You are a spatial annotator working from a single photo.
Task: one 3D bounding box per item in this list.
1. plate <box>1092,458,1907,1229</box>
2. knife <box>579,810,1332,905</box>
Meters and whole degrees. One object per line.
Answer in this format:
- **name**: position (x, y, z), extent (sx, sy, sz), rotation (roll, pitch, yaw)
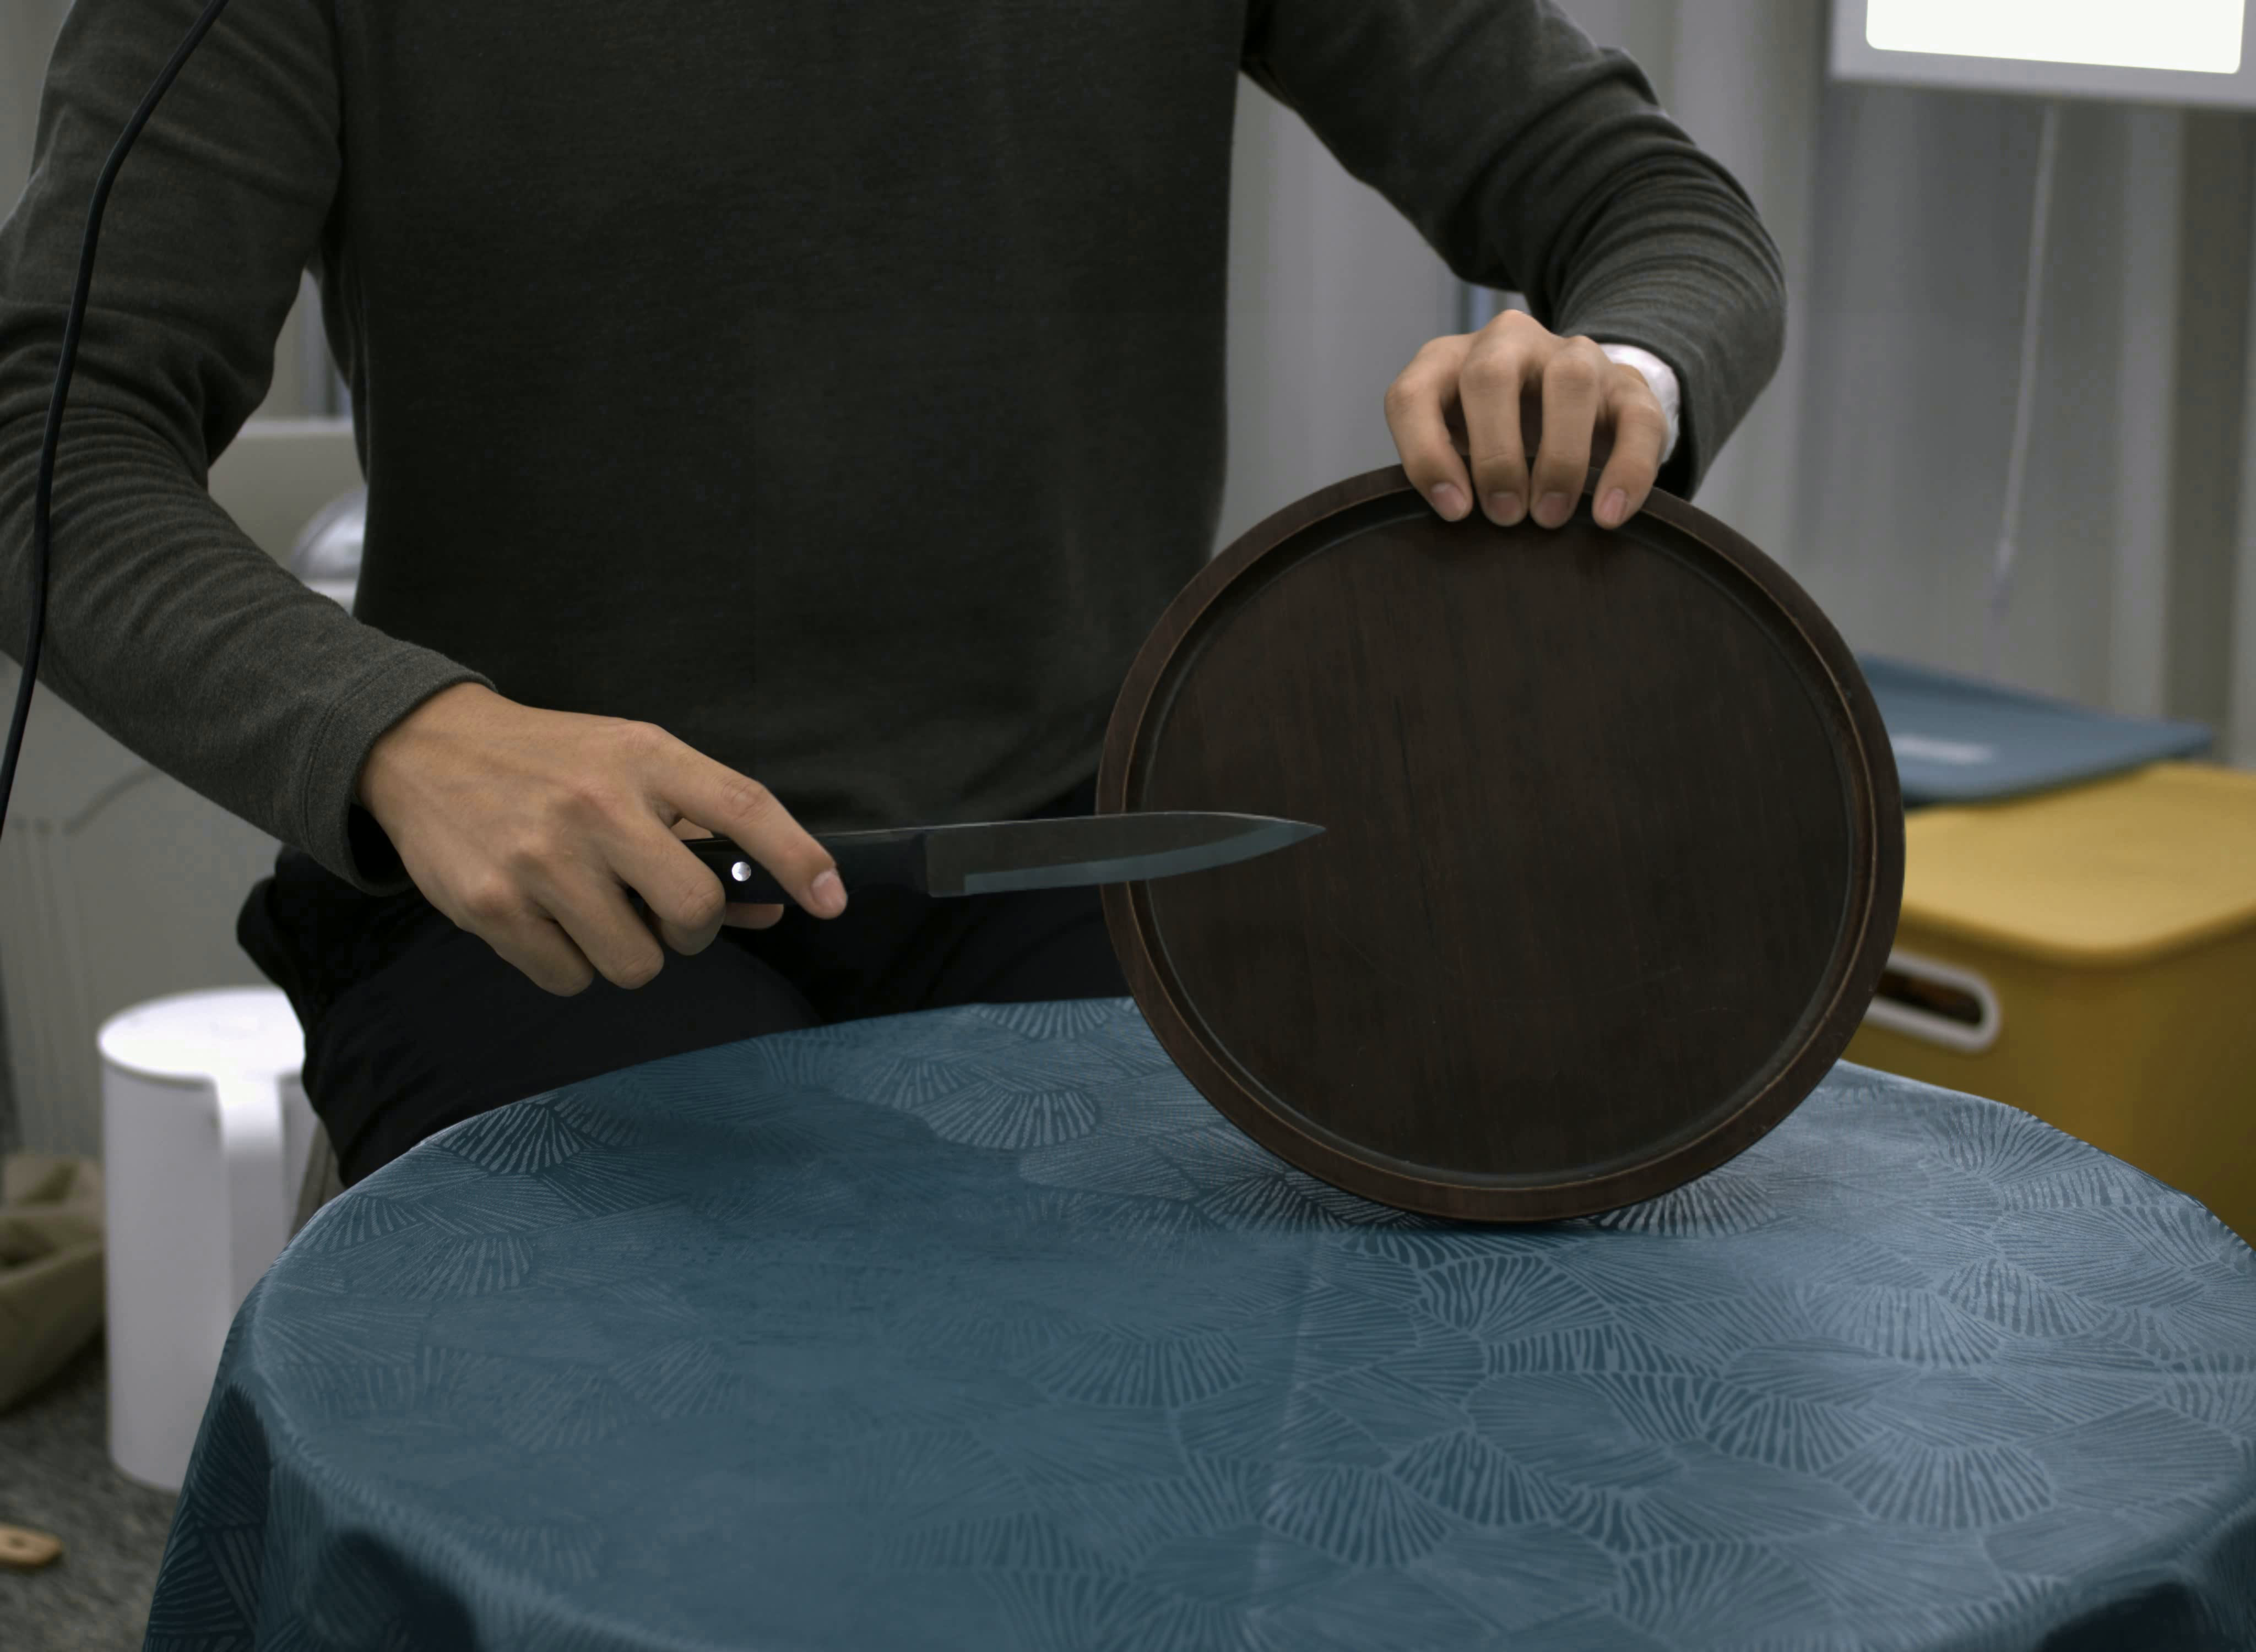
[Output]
- **plate**: position (0.115, 0.004, 1.637), extent (0.254, 0.254, 0.029), rotation (0, -17, -2)
- **knife**: position (-0.054, 0.008, 1.606), extent (0.236, 0.024, 0.016), rotation (-3, 8, 12)
